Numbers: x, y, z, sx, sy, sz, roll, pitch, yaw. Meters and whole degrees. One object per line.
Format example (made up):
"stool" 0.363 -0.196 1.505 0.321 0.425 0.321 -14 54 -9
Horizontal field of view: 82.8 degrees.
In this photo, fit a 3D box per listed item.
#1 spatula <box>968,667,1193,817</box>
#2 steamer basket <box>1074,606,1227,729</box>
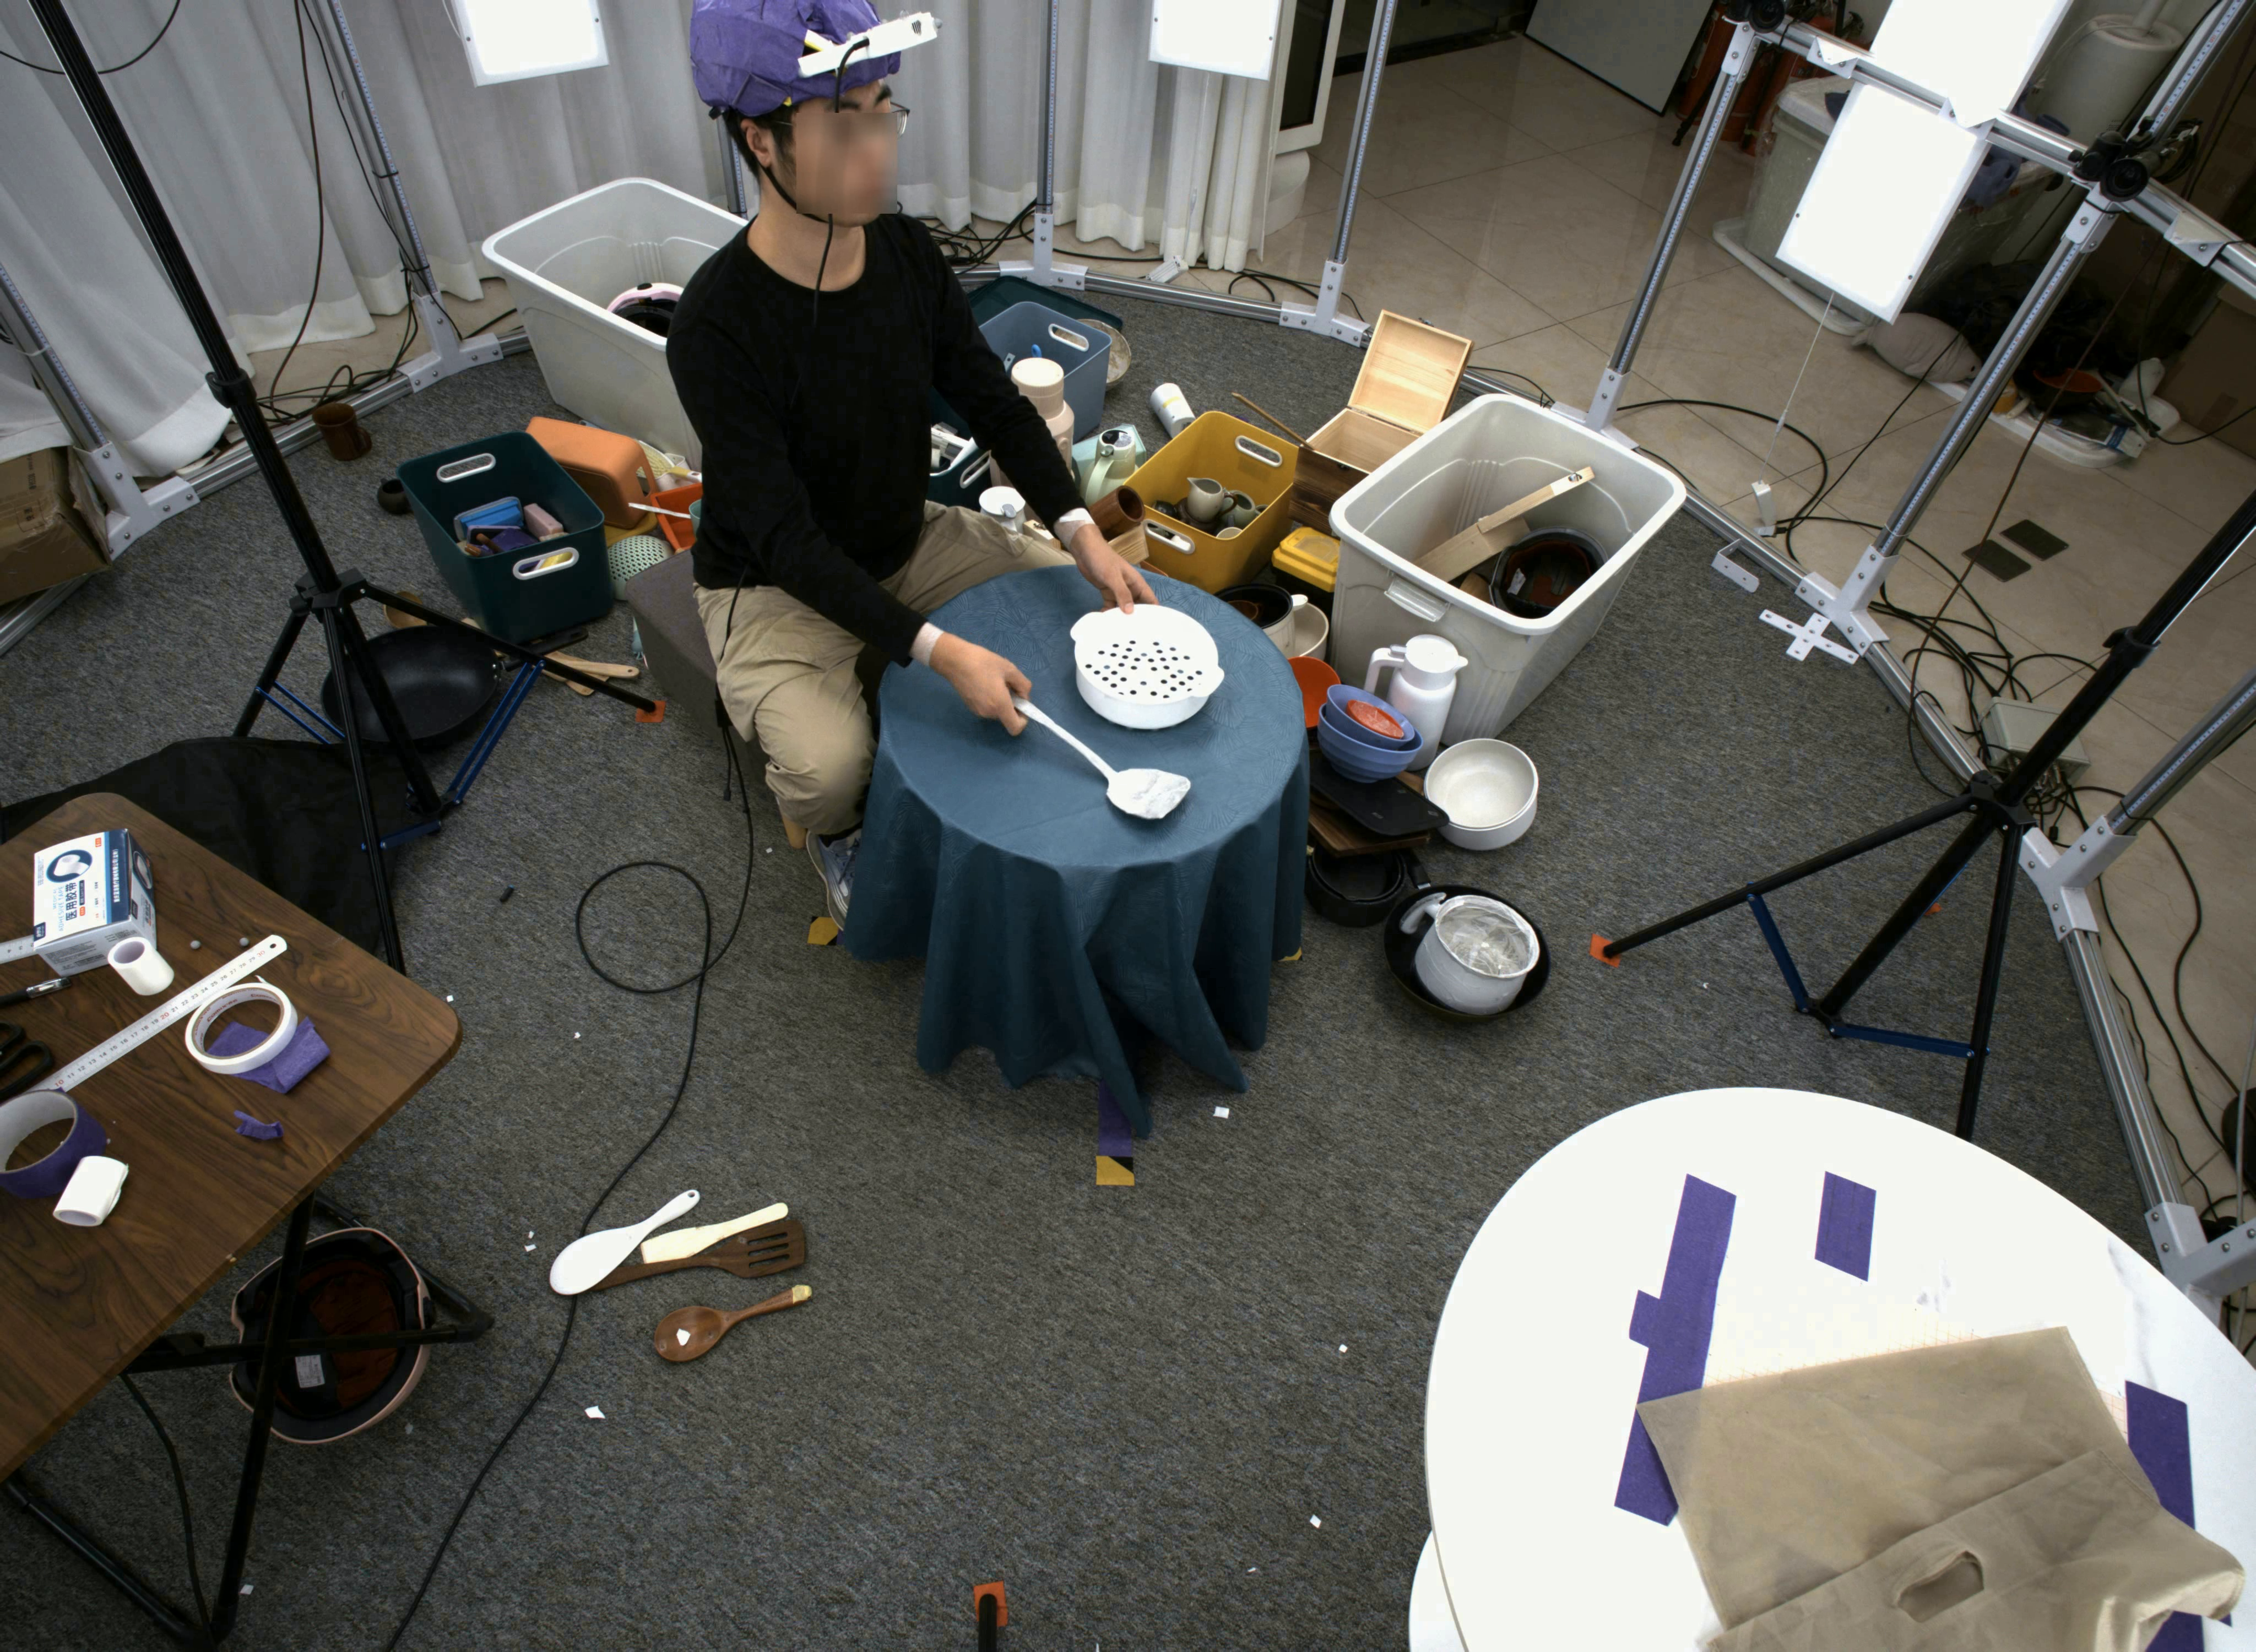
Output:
"spatula" -0.079 -0.123 1.725 0.368 0.044 0.100 36 51 14
"steamer basket" 0.029 -0.223 1.821 0.233 0.067 0.205 27 52 19
